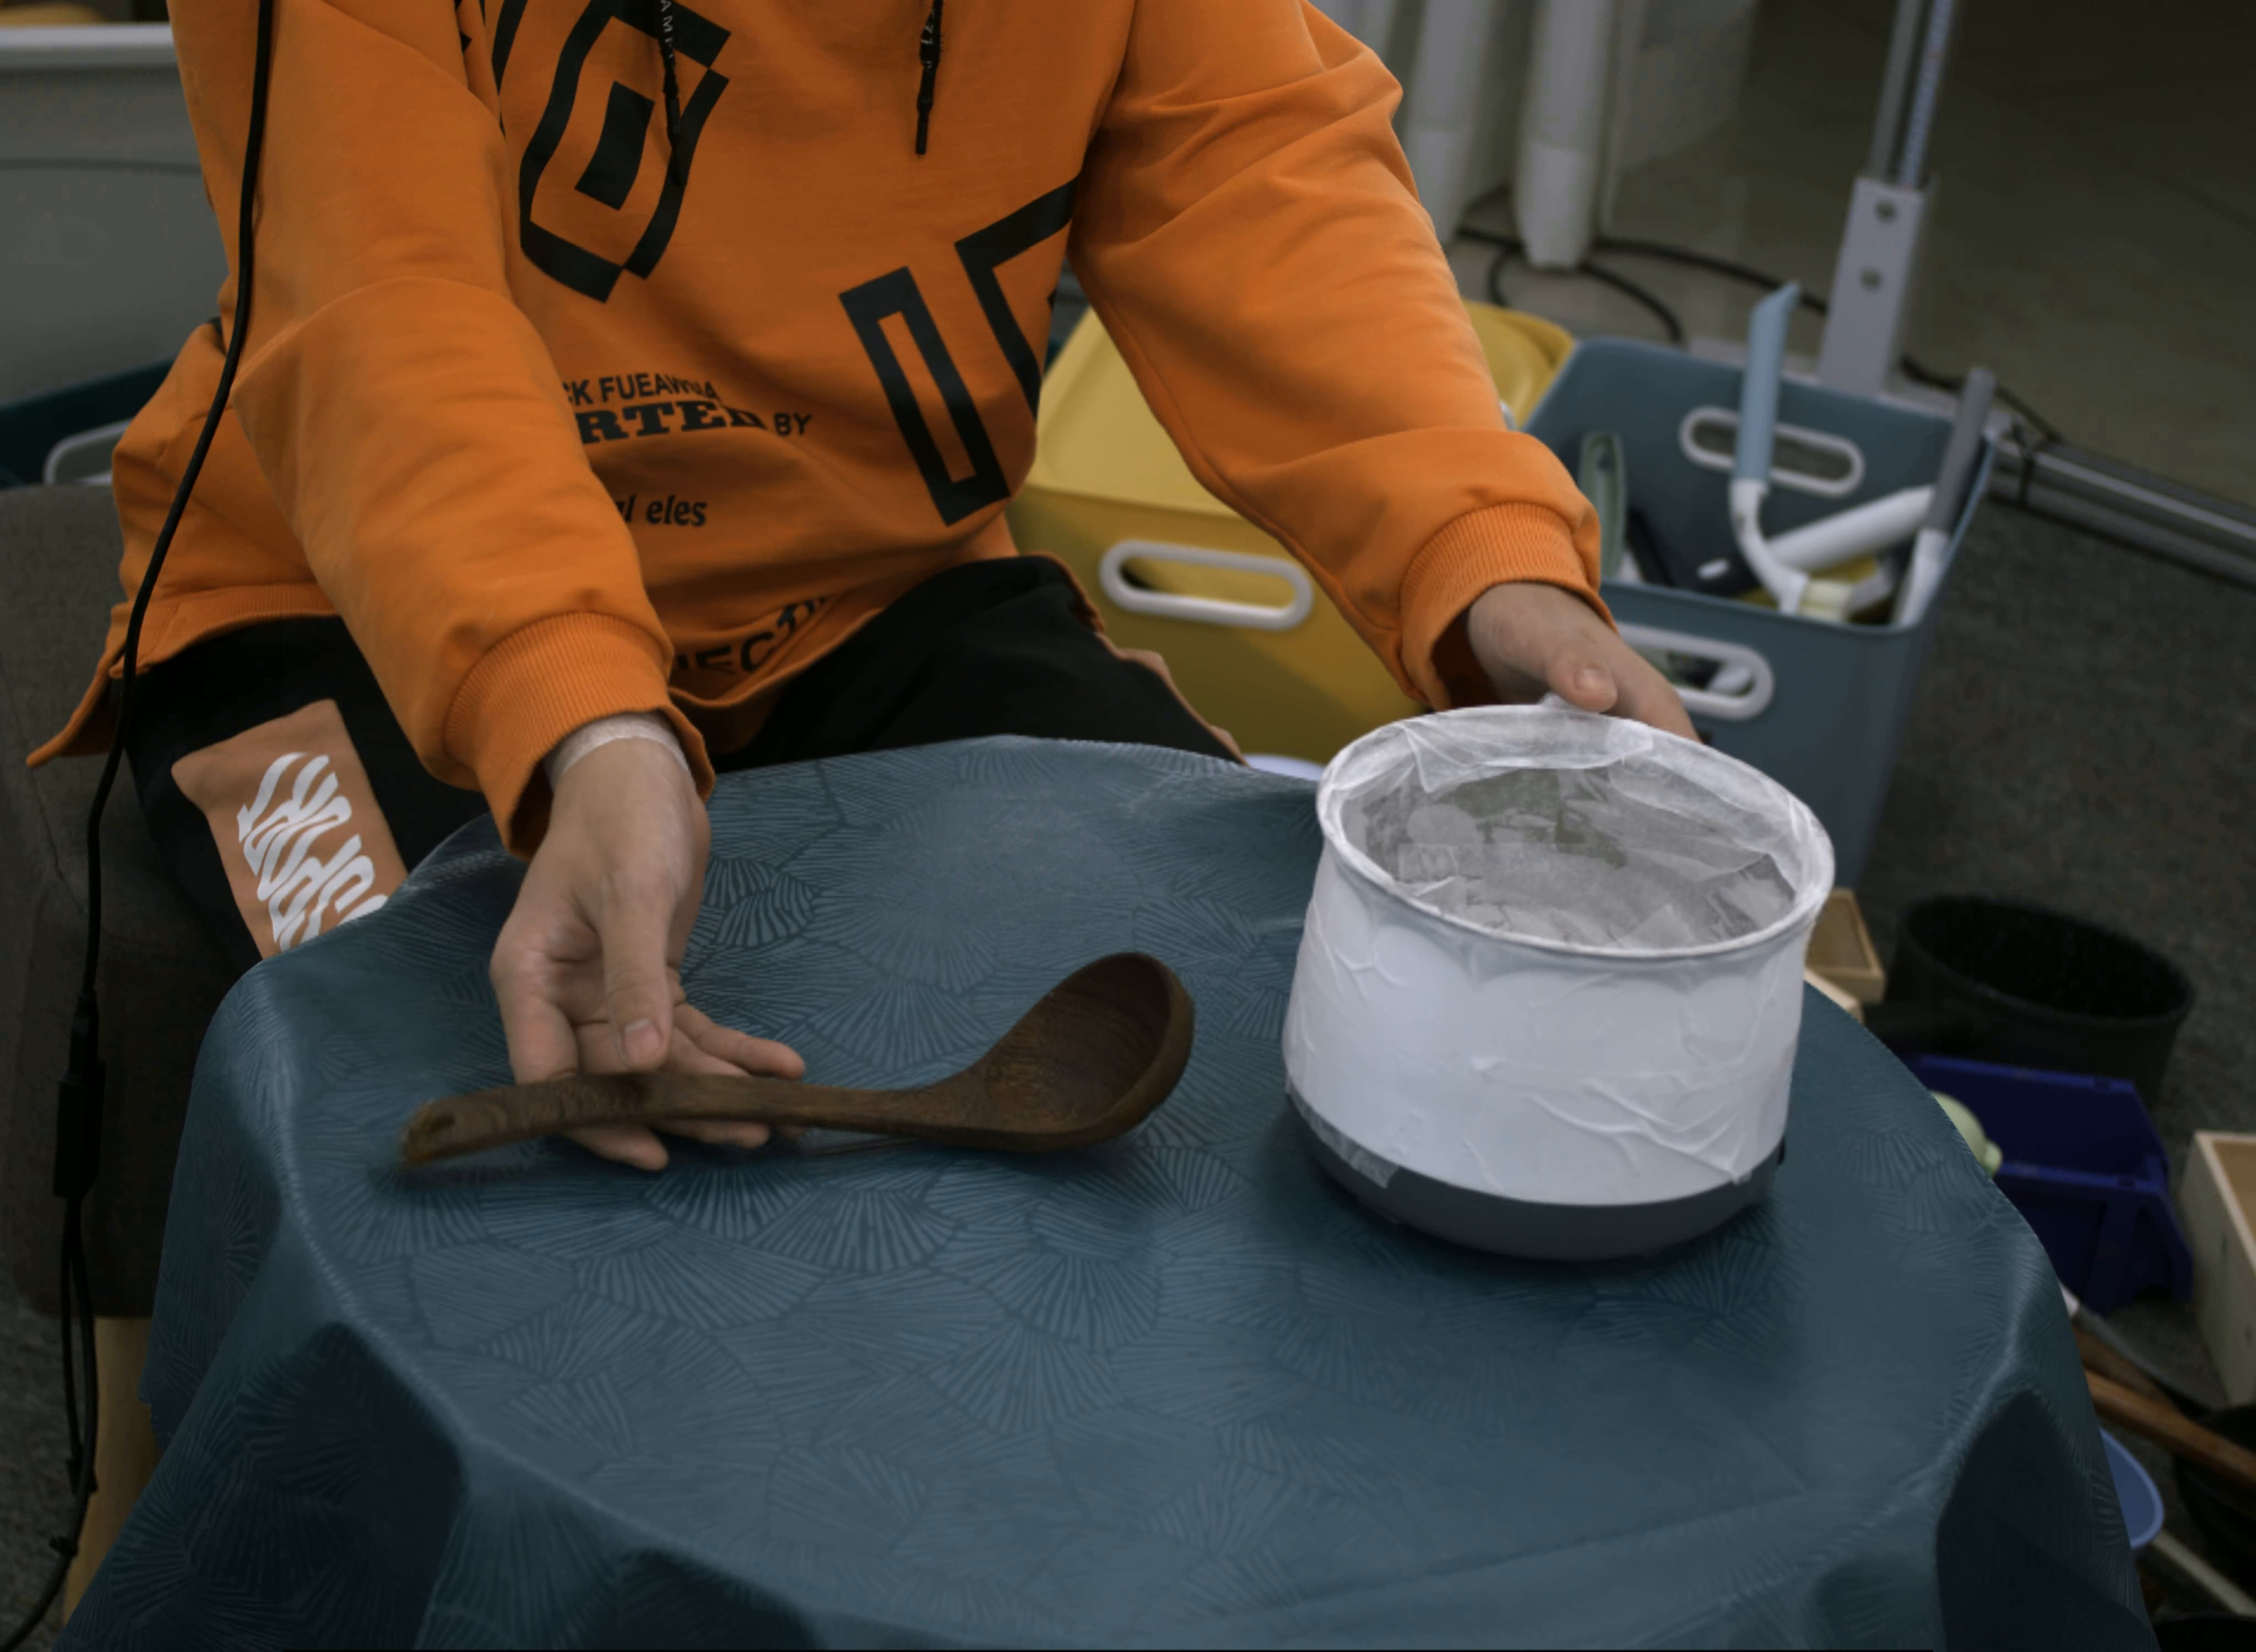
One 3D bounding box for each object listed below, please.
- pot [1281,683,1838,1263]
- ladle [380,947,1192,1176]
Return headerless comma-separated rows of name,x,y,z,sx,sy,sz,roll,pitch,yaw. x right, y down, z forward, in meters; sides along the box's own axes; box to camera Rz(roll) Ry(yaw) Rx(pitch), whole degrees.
pot,0.145,0.043,1.842,0.178,0.136,0.235,7,27,-1
ladle,-0.112,0.079,1.783,0.272,0.071,0.077,-1,29,-19
